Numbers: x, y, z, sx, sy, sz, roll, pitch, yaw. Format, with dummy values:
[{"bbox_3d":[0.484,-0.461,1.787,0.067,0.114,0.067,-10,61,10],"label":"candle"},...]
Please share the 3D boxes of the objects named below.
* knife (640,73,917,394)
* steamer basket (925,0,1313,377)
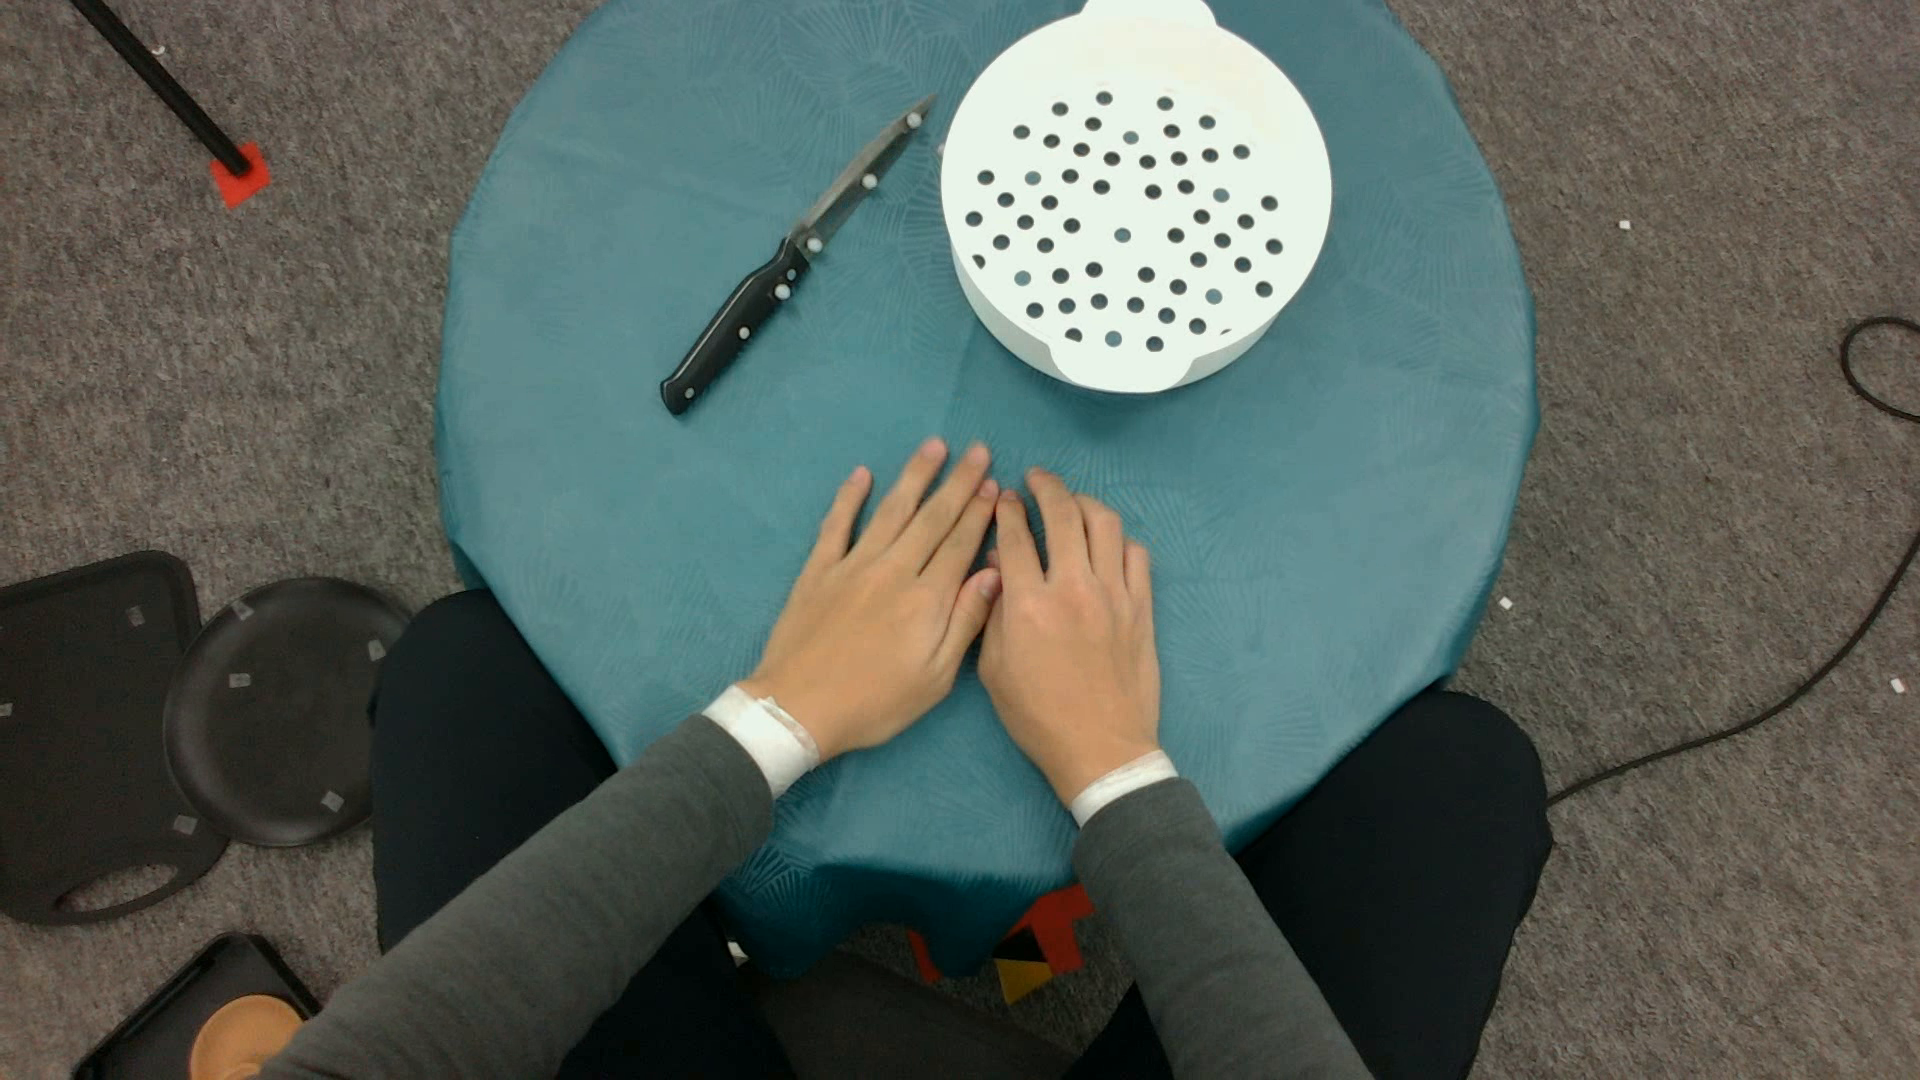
[{"bbox_3d":[-0.094,-0.170,0.759,0.016,0.024,0.238,29,76,33],"label":"knife"},{"bbox_3d":[0.083,-0.188,0.742,0.202,0.069,0.231,6,77,1],"label":"steamer basket"}]
